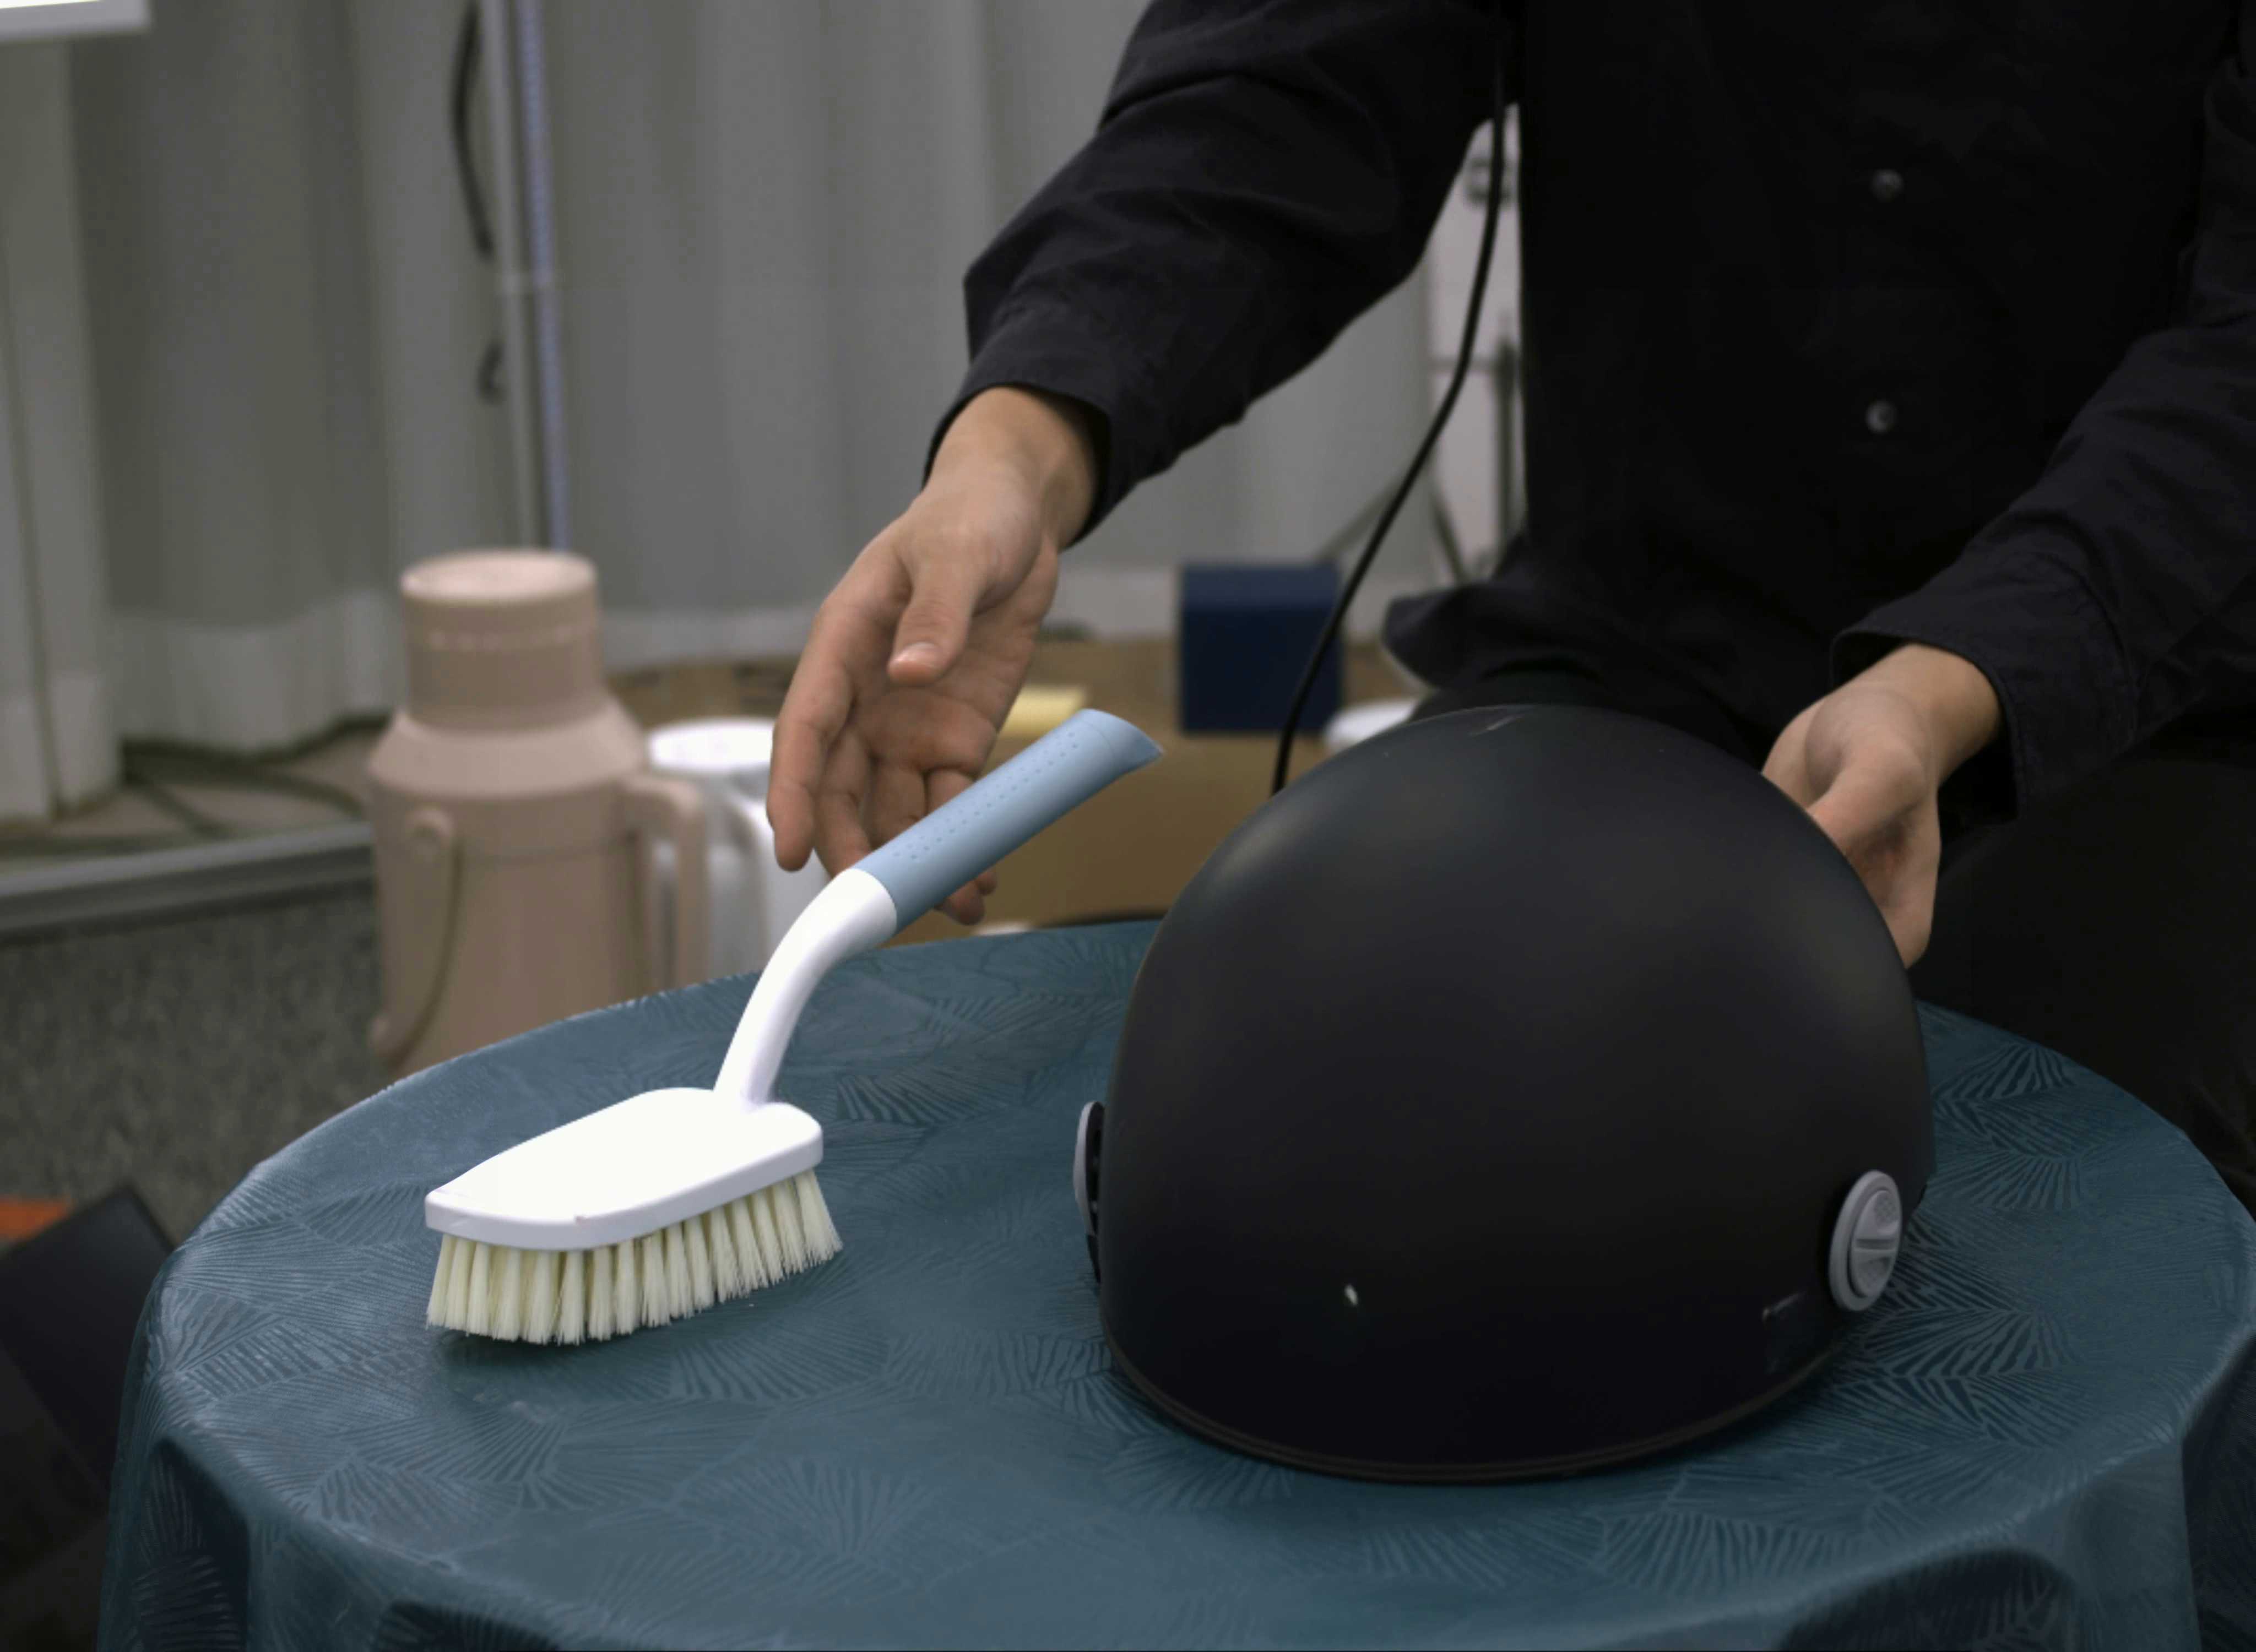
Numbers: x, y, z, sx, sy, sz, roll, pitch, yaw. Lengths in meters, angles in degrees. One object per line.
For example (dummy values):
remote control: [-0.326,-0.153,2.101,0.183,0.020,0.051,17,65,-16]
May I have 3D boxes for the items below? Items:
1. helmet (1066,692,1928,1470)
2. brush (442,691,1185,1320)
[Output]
helmet: [0.102,0.055,1.446,0.233,0.166,0.269,3,19,24]
brush: [-0.078,0.067,1.570,0.084,0.085,0.320,42,48,15]
